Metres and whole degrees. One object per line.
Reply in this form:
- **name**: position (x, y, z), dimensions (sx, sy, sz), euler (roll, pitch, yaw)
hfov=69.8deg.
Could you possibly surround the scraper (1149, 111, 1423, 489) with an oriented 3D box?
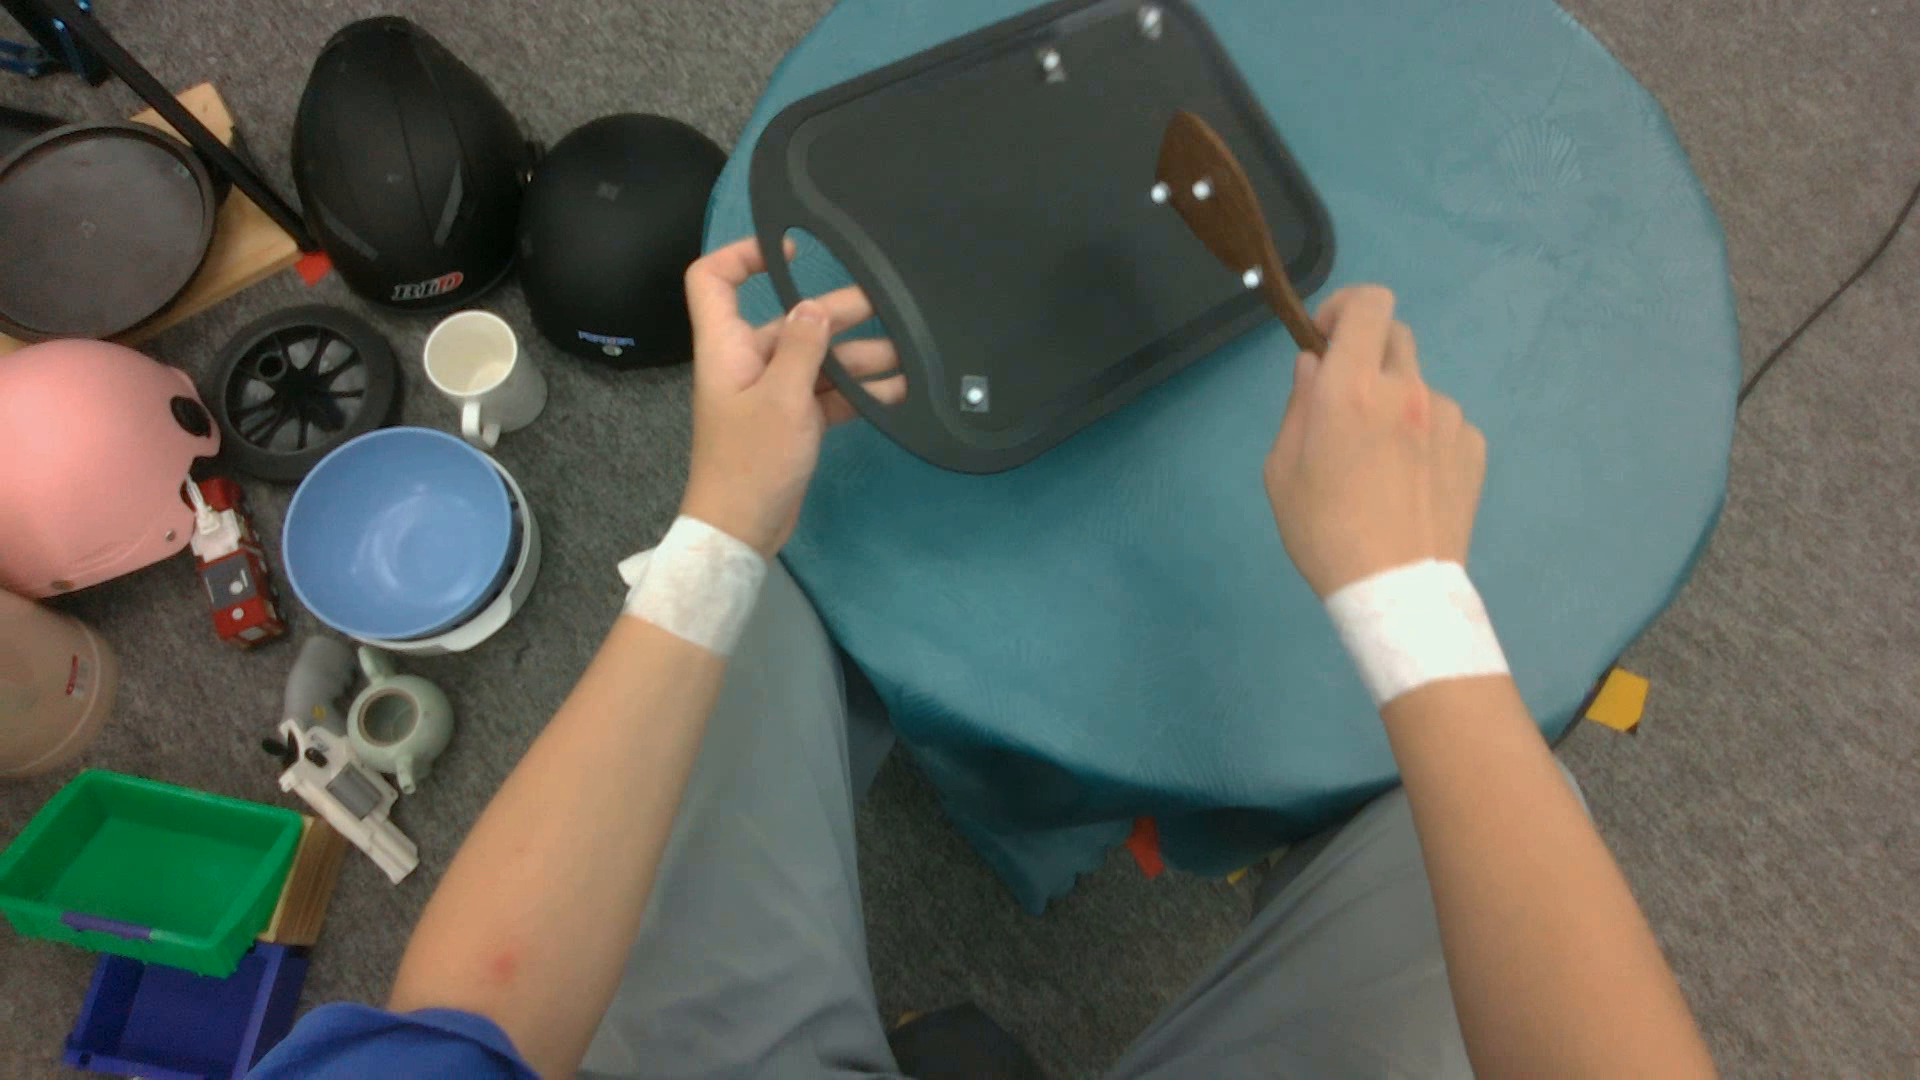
- **scraper**: position (0.154, -0.112, 0.654), dimensions (0.011, 0.075, 0.211), euler (-32, 79, -4)

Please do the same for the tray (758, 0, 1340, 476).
- **tray**: position (0.055, -0.173, 0.723), dimensions (0.326, 0.010, 0.211), euler (-32, 91, -25)
